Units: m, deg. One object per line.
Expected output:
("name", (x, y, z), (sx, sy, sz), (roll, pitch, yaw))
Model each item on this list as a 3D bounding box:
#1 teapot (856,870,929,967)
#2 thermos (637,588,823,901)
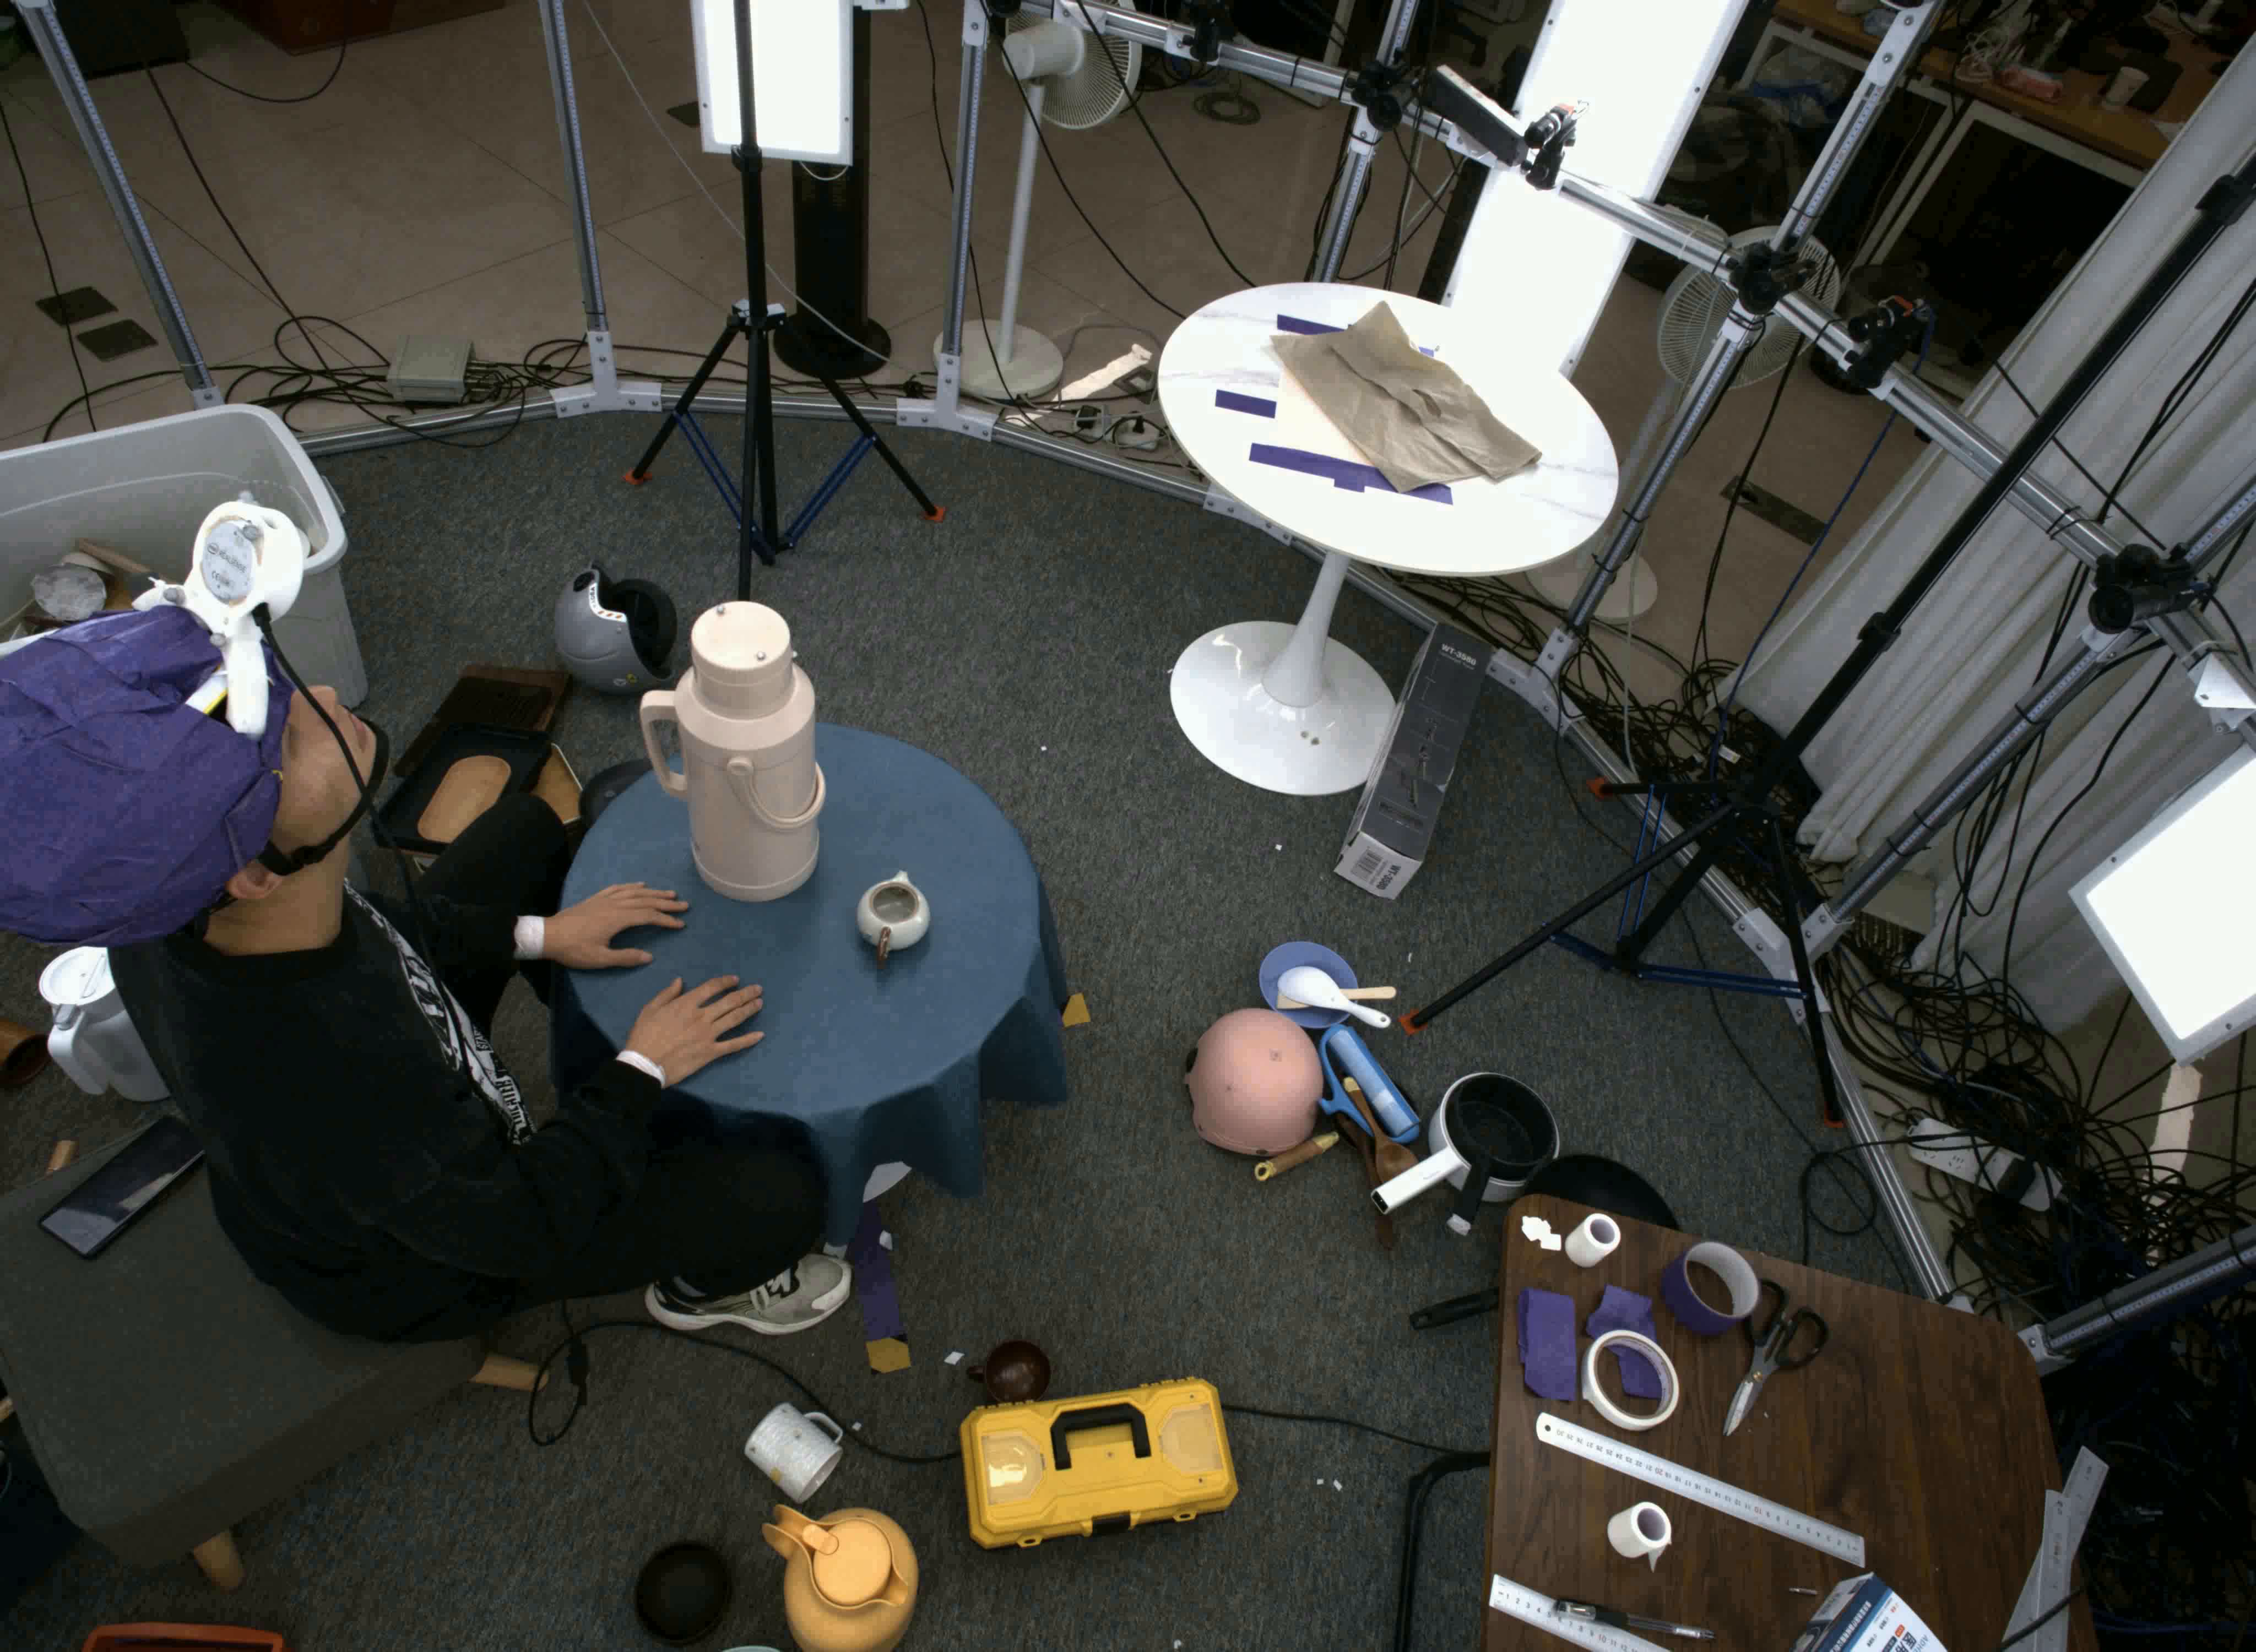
("teapot", (-0.296, 0.117, 1.629), (0.092, 0.060, 0.126), (12, 50, -9))
("thermos", (-0.466, -0.093, 1.523), (0.207, 0.414, 0.171), (0, 54, -13))
